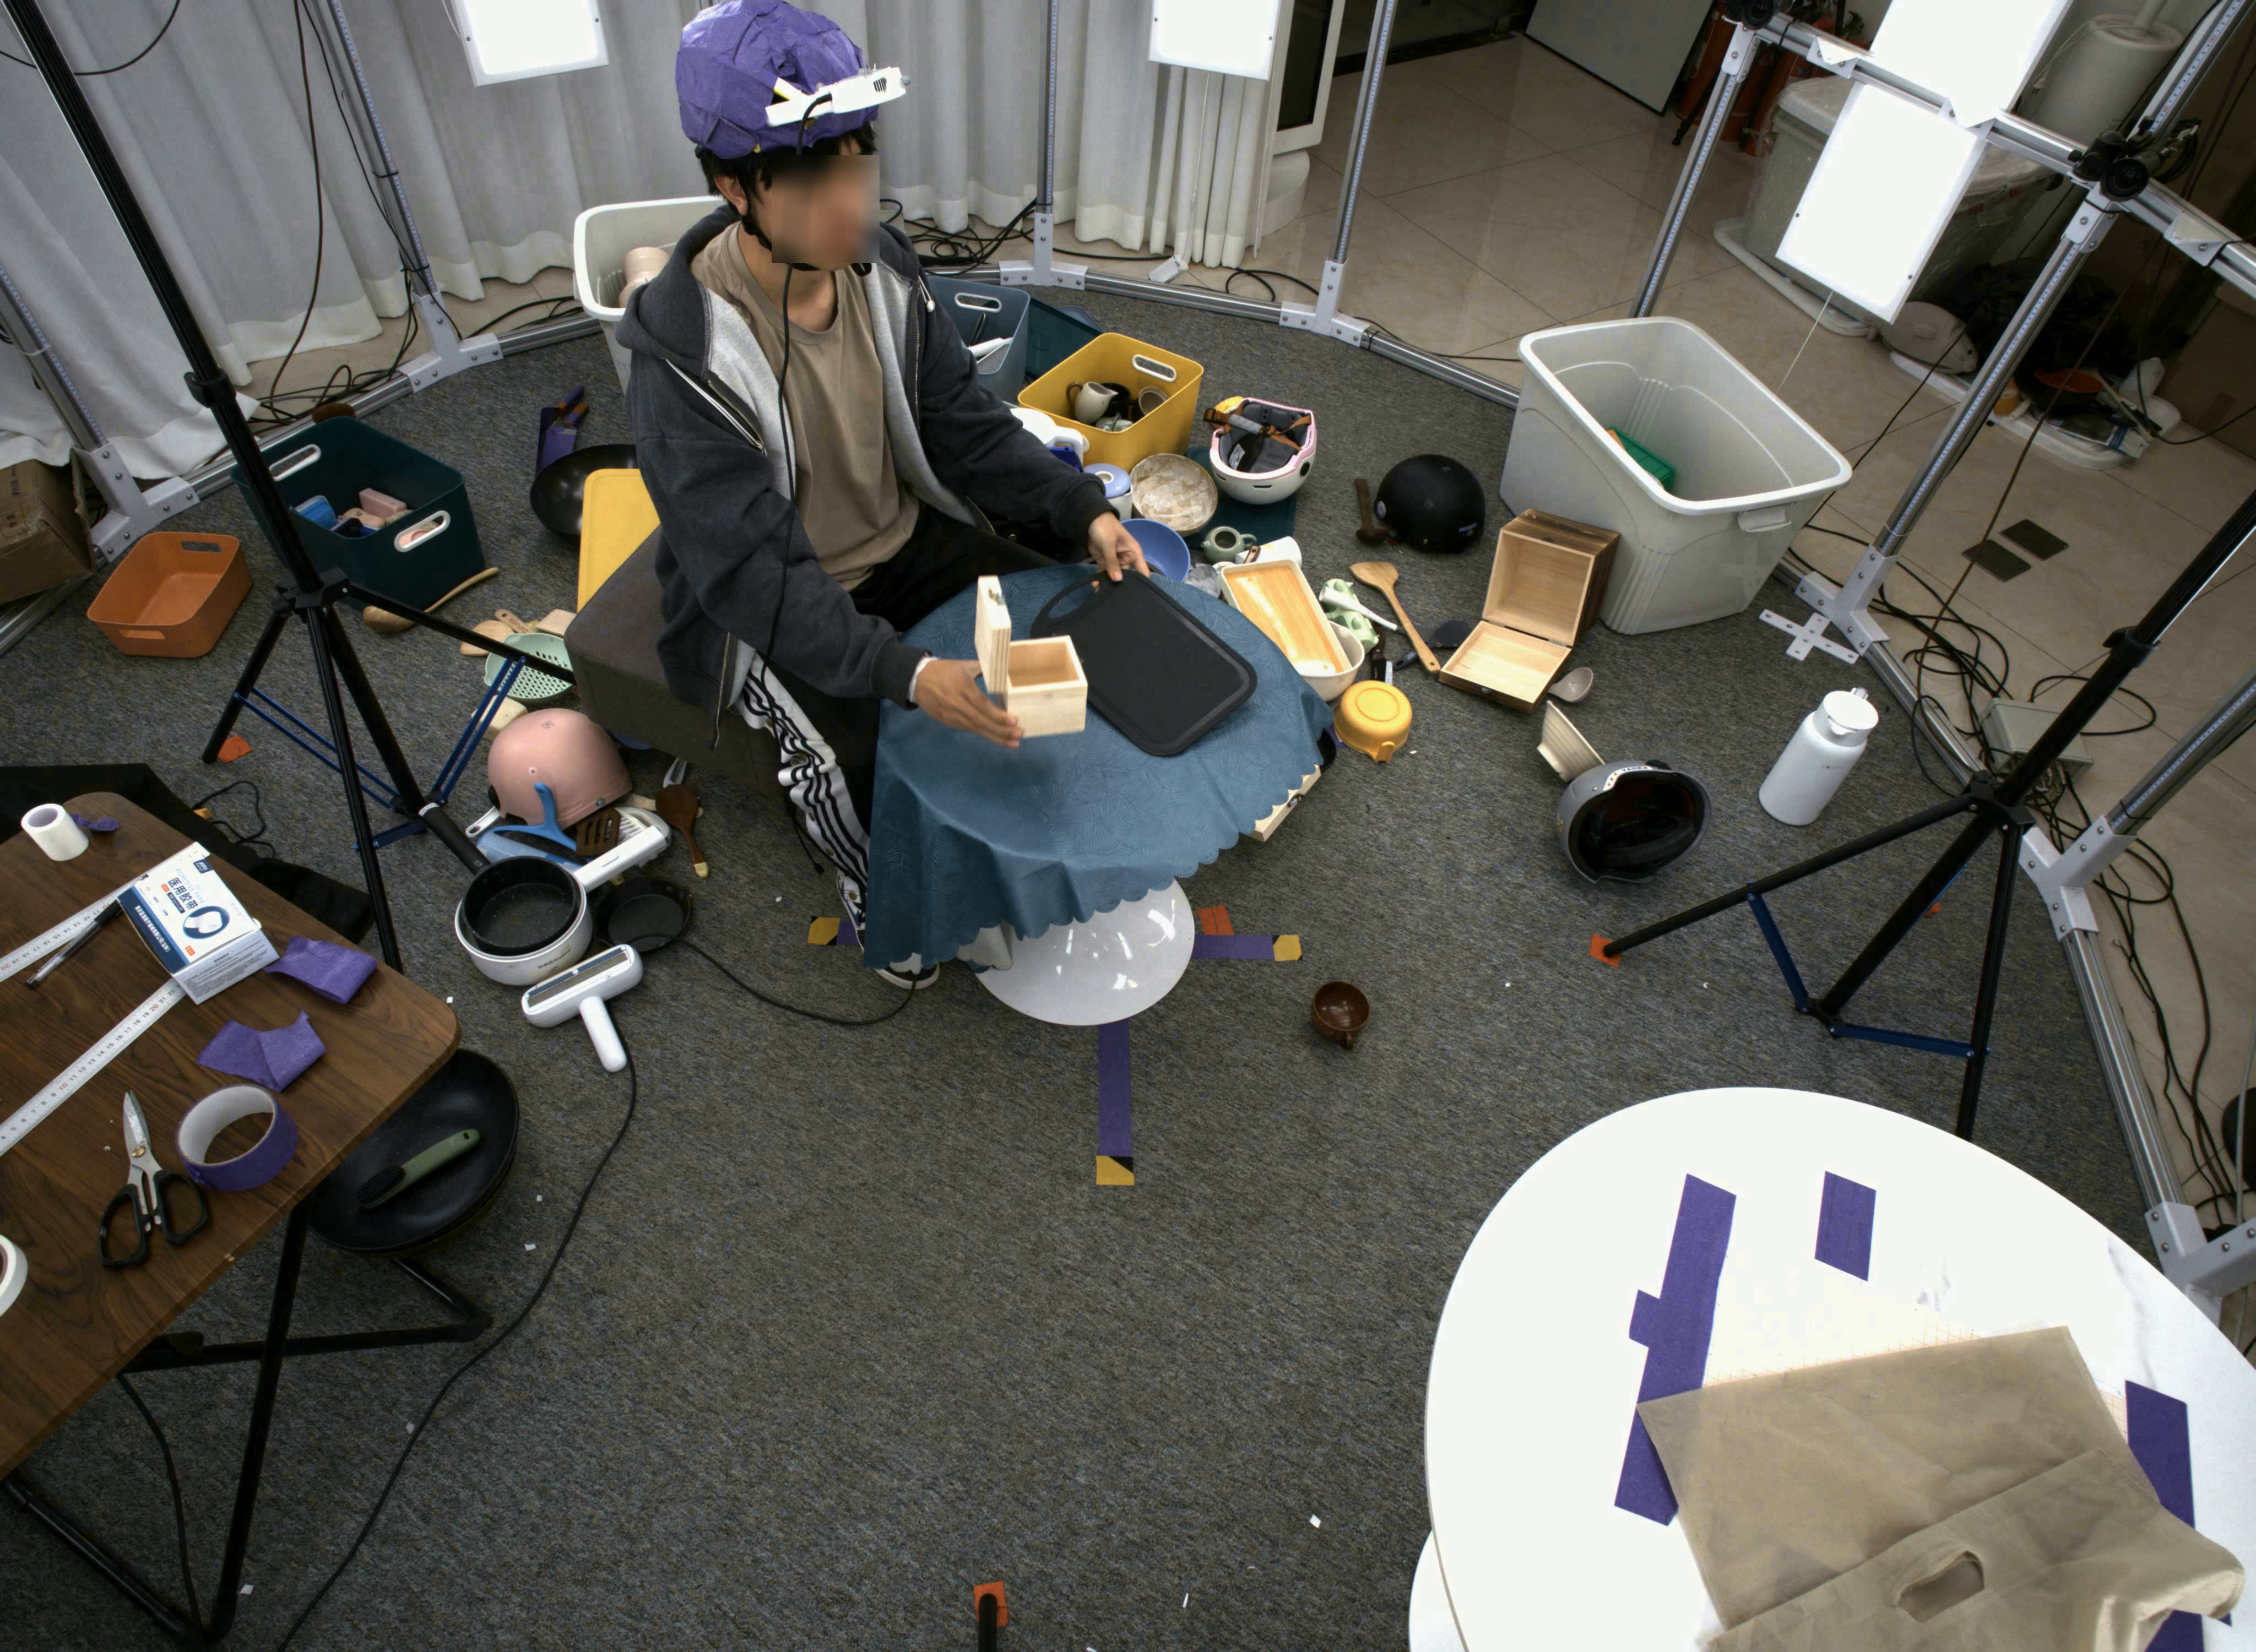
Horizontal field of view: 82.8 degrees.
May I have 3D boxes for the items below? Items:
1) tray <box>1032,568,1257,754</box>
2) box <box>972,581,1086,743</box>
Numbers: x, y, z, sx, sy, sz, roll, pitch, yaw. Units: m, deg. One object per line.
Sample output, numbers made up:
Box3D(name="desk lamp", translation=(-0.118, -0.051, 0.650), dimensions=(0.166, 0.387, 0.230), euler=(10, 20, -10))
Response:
Box3D(name="tray", translation=(0.015, -0.247, 1.840), dimensions=(0.212, 0.009, 0.330), euler=(-37, 65, -19))
Box3D(name="box", translation=(-0.121, -0.208, 1.604), dimensions=(0.134, 0.180, 0.105), euler=(-9, 46, -12))
